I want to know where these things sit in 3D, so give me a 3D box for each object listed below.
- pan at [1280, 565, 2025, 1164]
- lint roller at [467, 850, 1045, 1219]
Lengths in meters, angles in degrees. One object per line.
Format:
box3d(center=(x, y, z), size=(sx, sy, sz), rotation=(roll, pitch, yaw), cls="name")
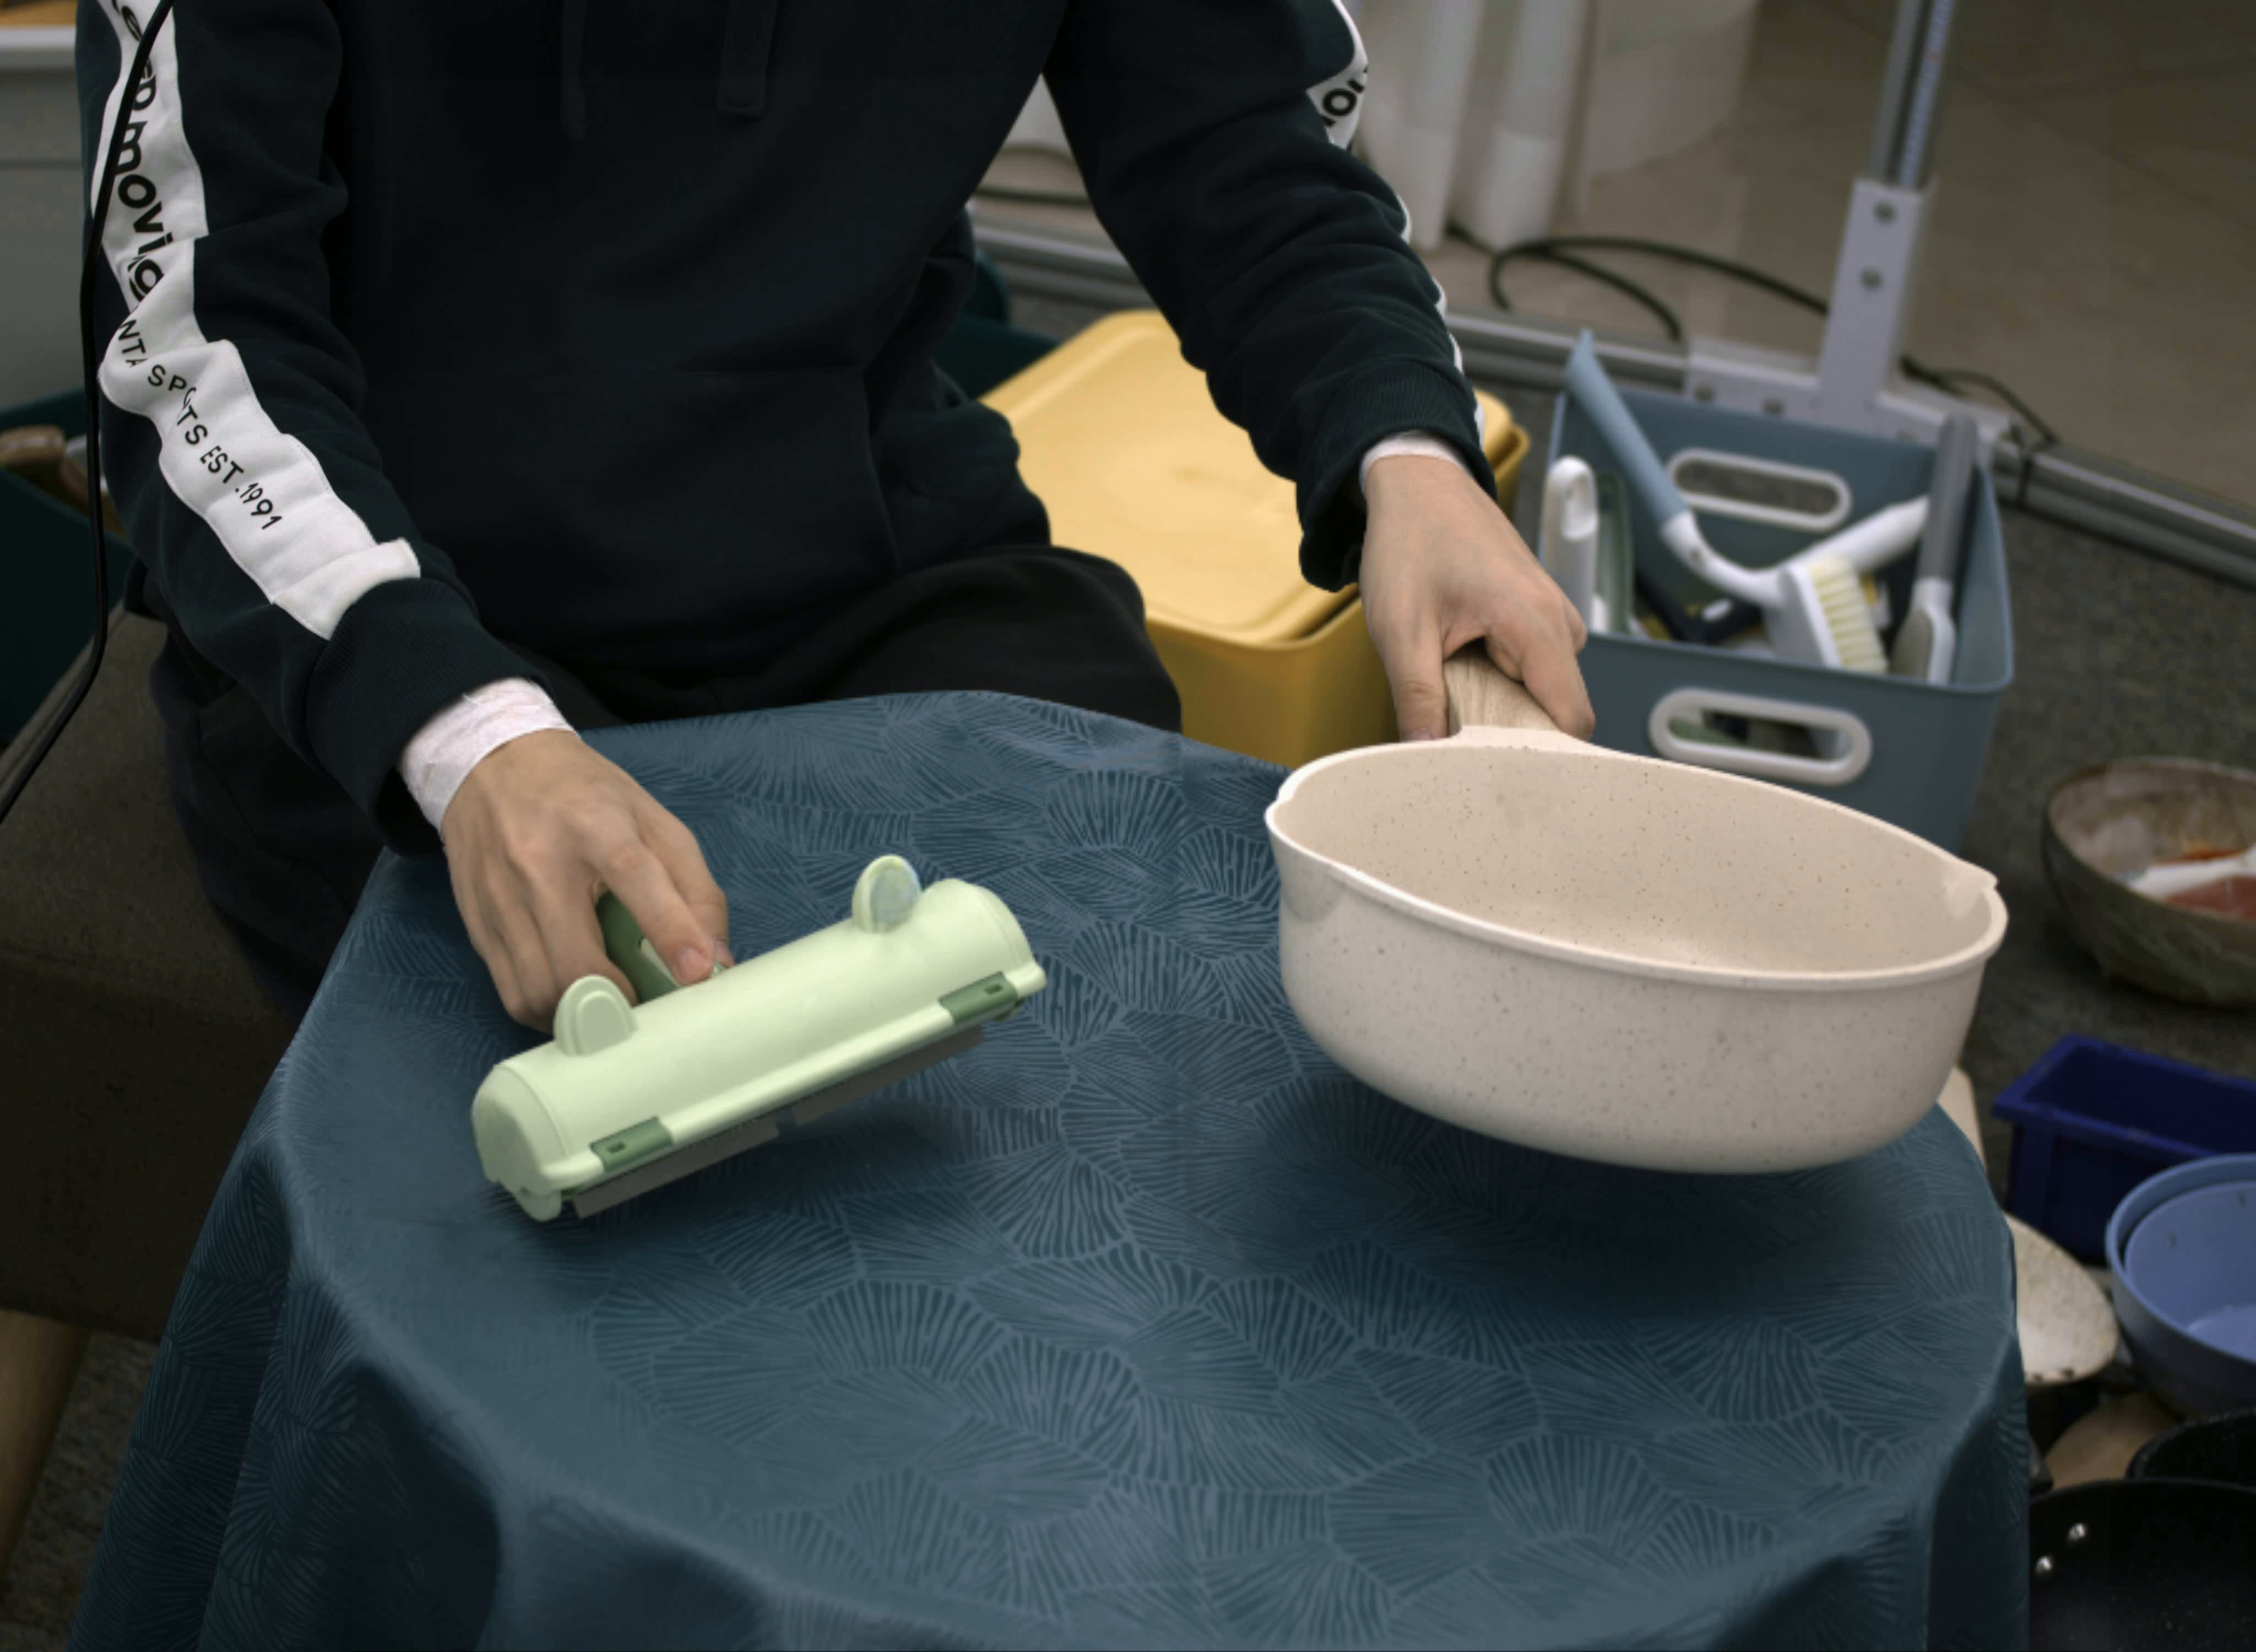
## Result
box3d(center=(0.151, 0.011, 1.897), size=(0.262, 0.102, 0.438), rotation=(2, 17, -16), cls="pan")
box3d(center=(-0.155, 0.038, 1.802), size=(0.198, 0.082, 0.185), rotation=(-23, 44, -27), cls="lint roller")
